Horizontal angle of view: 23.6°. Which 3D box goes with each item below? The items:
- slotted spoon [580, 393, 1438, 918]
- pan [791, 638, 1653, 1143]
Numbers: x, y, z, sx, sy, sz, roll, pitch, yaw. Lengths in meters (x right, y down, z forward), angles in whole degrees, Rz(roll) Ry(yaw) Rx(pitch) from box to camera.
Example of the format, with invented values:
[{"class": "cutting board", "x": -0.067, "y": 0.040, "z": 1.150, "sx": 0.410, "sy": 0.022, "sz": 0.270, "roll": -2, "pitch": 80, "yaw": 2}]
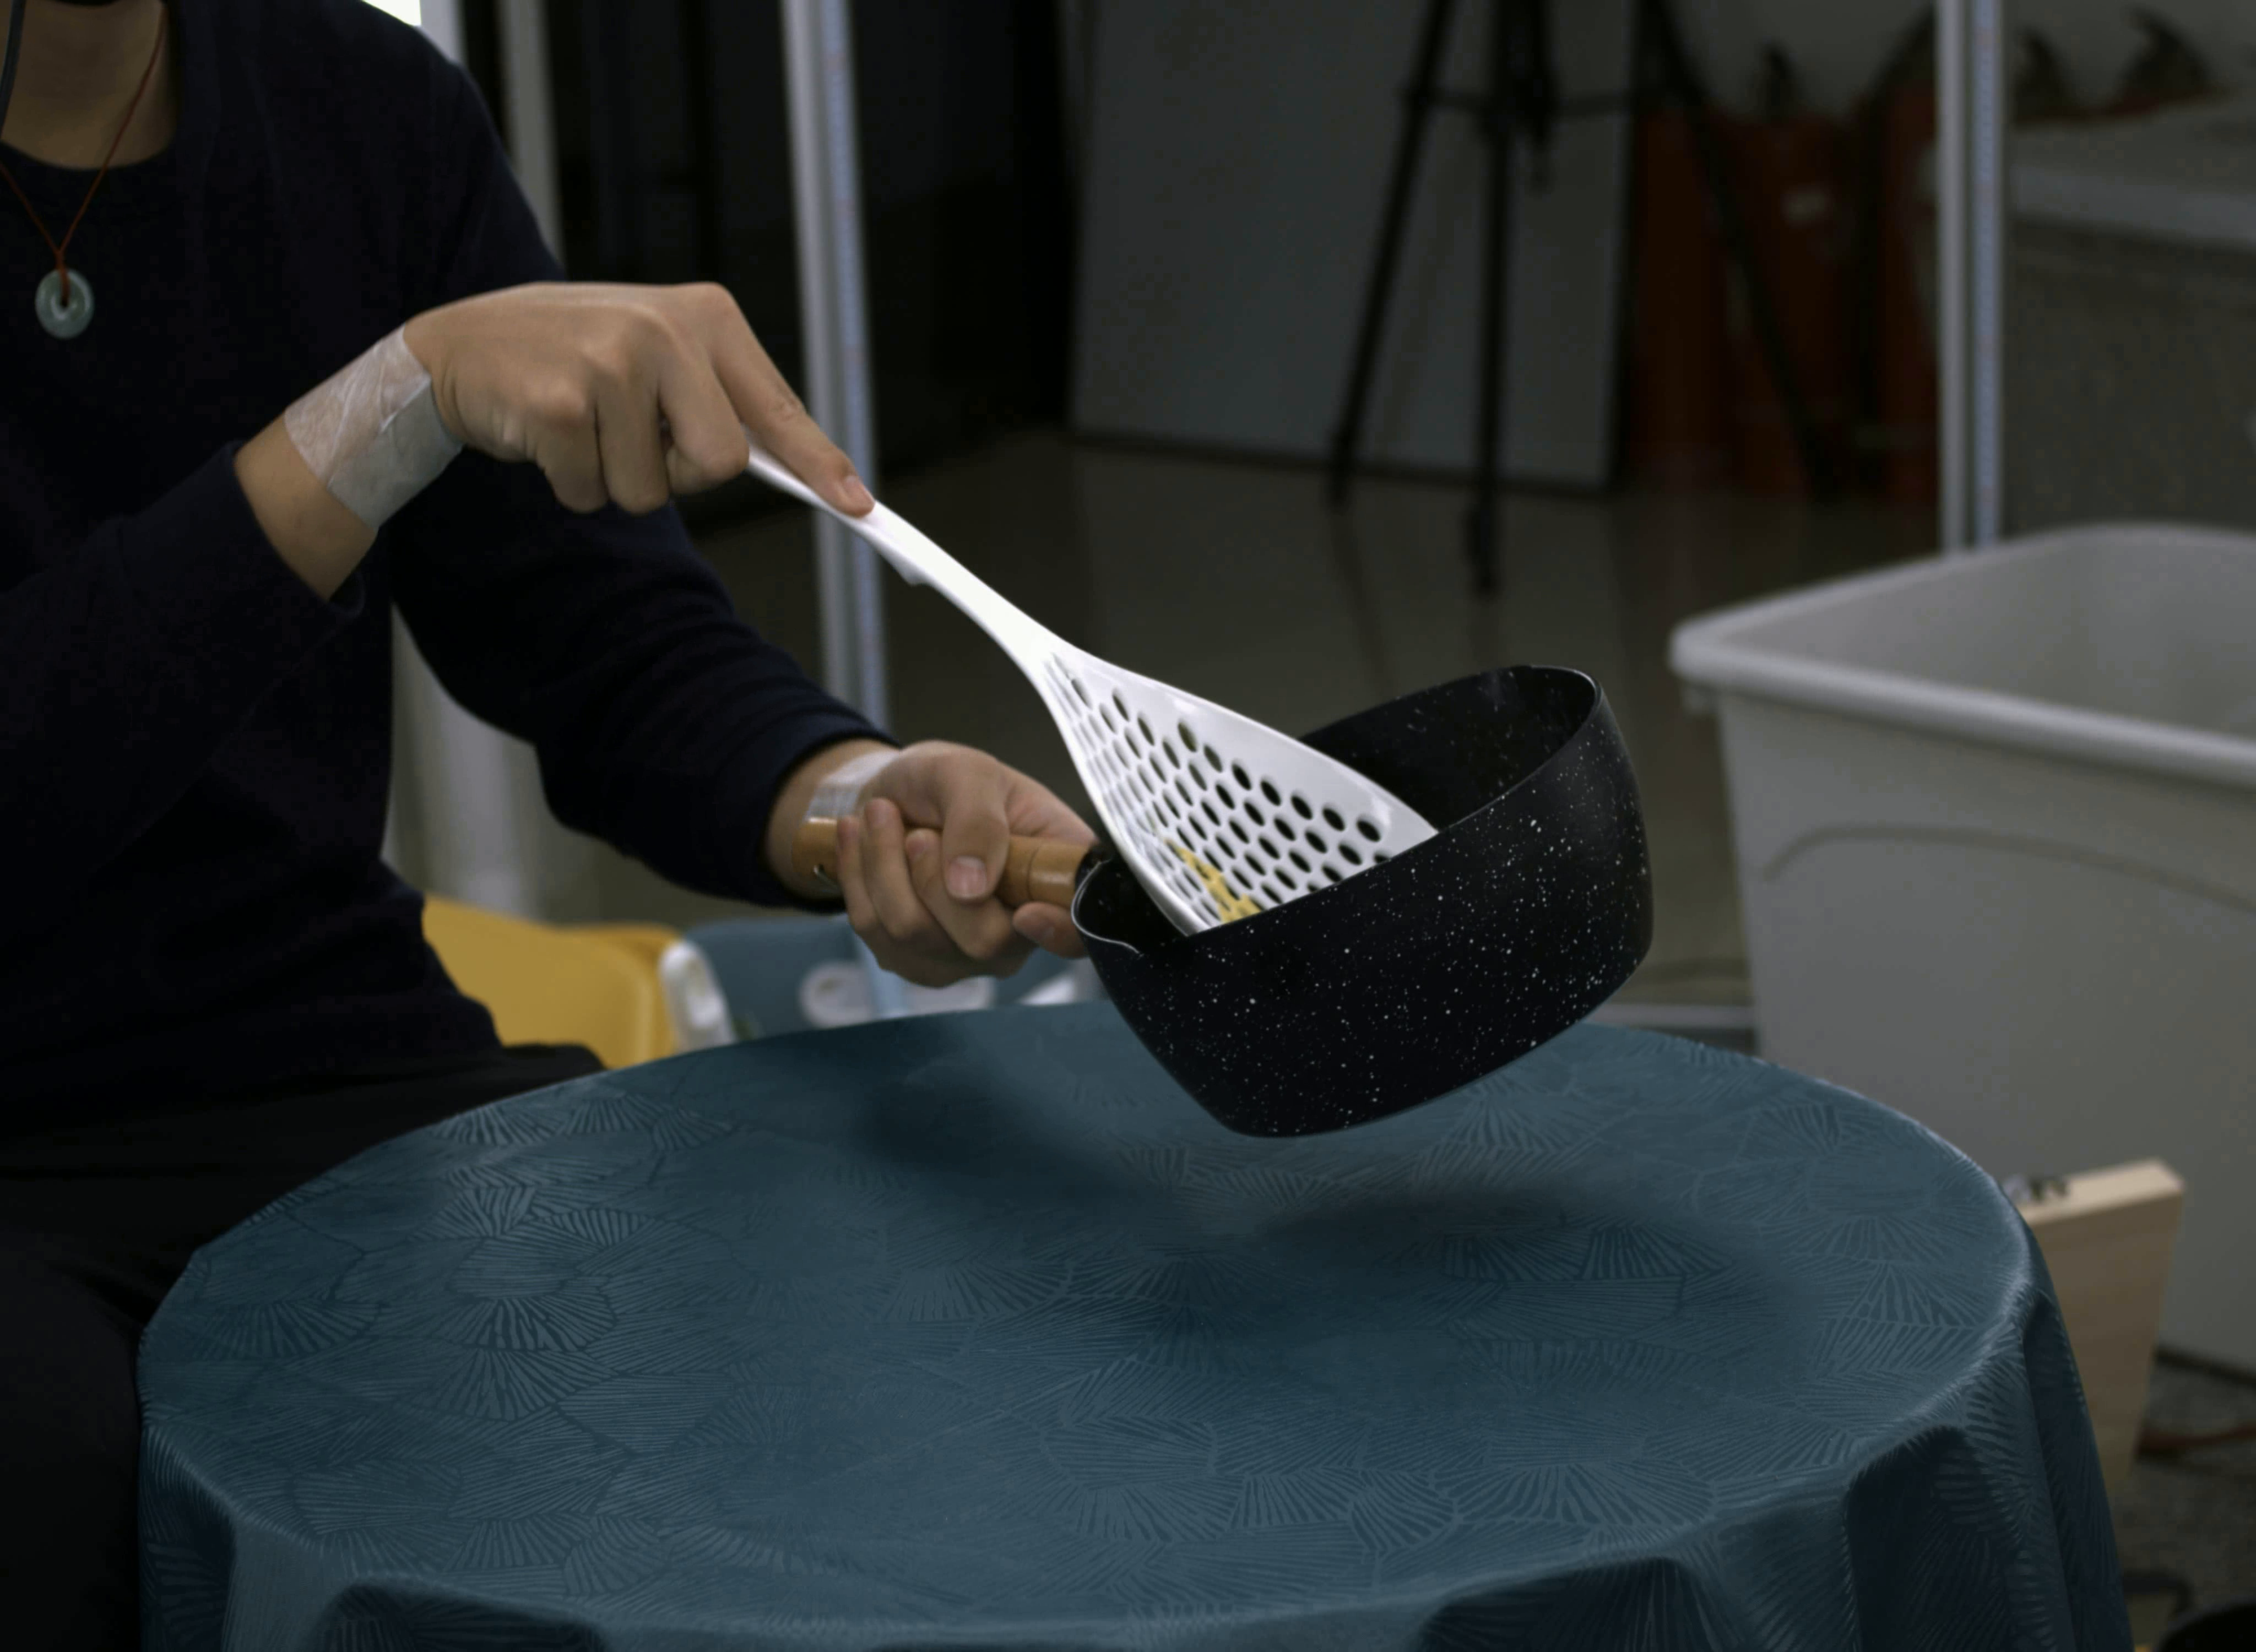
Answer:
[{"class": "slotted spoon", "x": -0.029, "y": -0.045, "z": 1.733, "sx": 0.348, "sy": 0.051, "sz": 0.135, "roll": 40, "pitch": 34, "yaw": 5}, {"class": "pan", "x": 0.021, "y": 0.026, "z": 1.757, "sx": 0.346, "sy": 0.108, "sz": 0.205, "roll": -9, "pitch": 22, "yaw": 45}]
